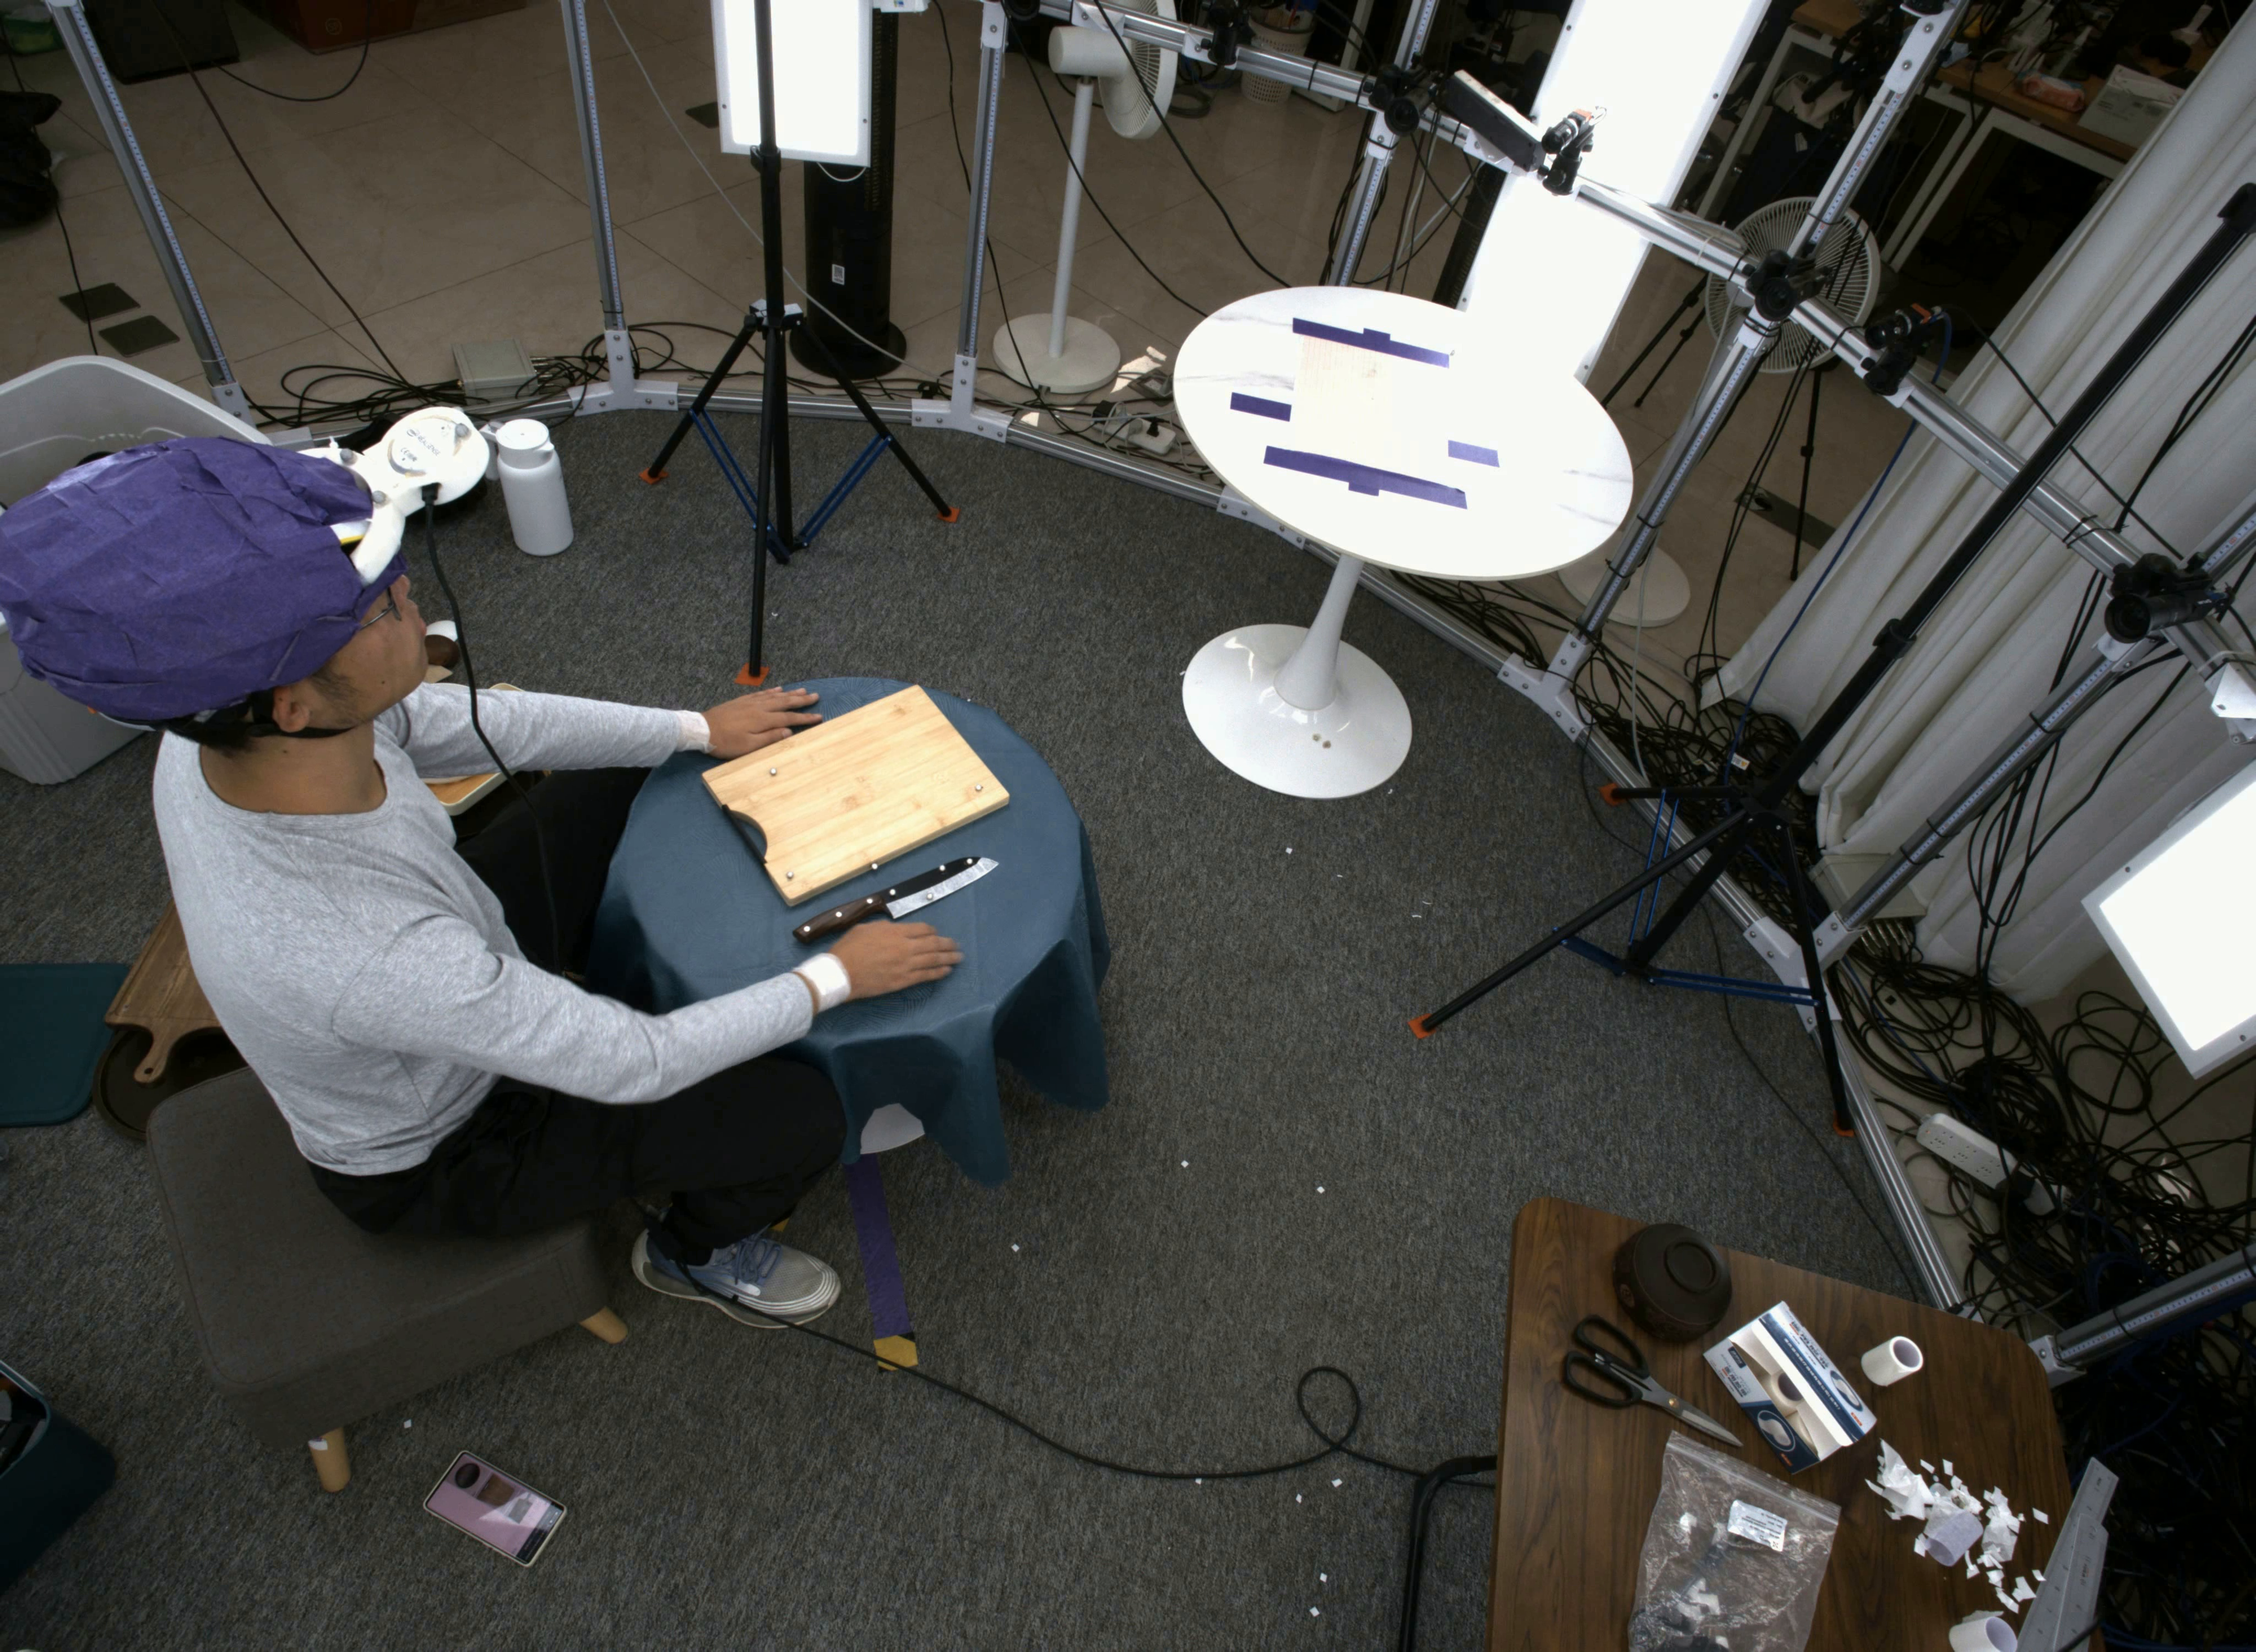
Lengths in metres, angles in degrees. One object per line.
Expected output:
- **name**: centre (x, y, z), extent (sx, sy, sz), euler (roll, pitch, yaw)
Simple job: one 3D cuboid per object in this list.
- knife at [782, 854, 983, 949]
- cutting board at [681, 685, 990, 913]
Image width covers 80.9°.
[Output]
- **knife**: centre (-0.312, 0.093, 1.686), extent (0.291, 0.020, 0.049), euler (-23, 67, -30)
- **cutting board**: centre (-0.393, -0.047, 1.768), extent (0.350, 0.024, 0.244), euler (-29, 65, -30)
